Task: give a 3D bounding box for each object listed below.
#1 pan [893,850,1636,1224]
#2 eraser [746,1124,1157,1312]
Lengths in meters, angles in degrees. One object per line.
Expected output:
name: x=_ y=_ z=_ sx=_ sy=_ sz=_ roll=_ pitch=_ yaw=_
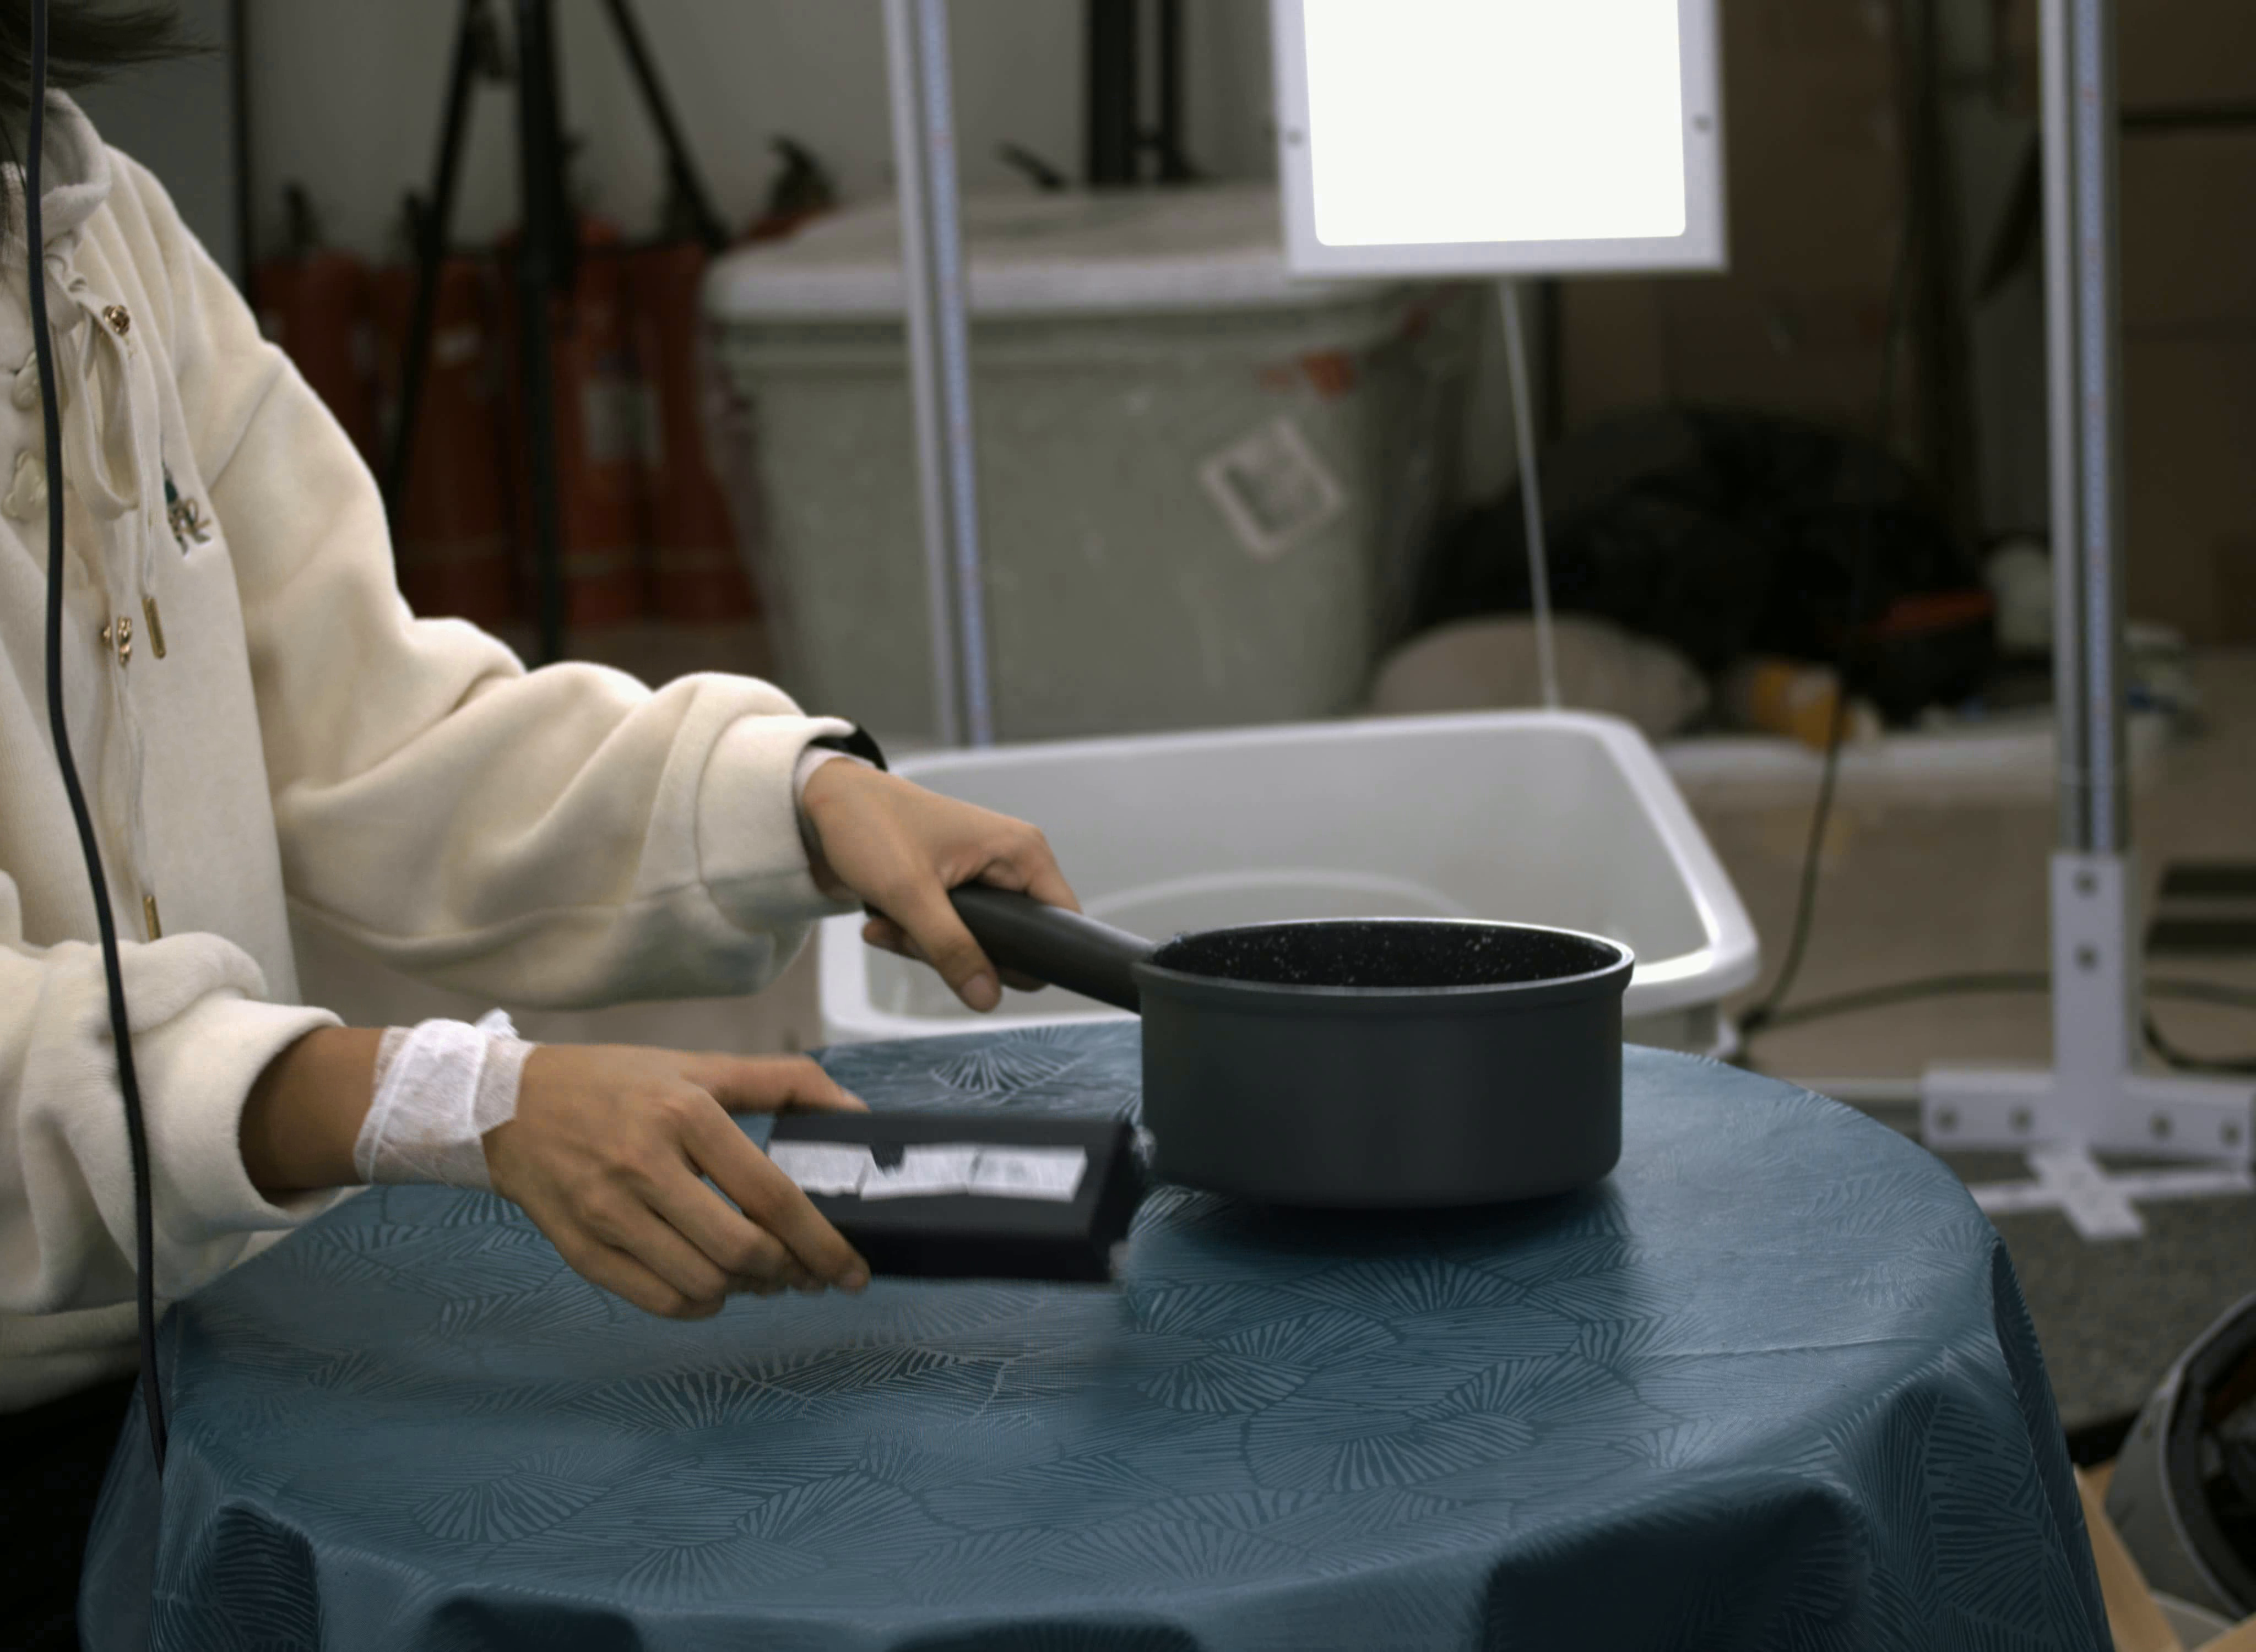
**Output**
pan: x=0.033 y=0.070 z=1.922 sx=0.167 sy=0.087 sz=0.336 roll=-8 pitch=12 yaw=-41
eraser: x=-0.055 y=0.123 z=1.740 sx=0.127 sy=0.030 sz=0.053 roll=1 pitch=48 yaw=25
